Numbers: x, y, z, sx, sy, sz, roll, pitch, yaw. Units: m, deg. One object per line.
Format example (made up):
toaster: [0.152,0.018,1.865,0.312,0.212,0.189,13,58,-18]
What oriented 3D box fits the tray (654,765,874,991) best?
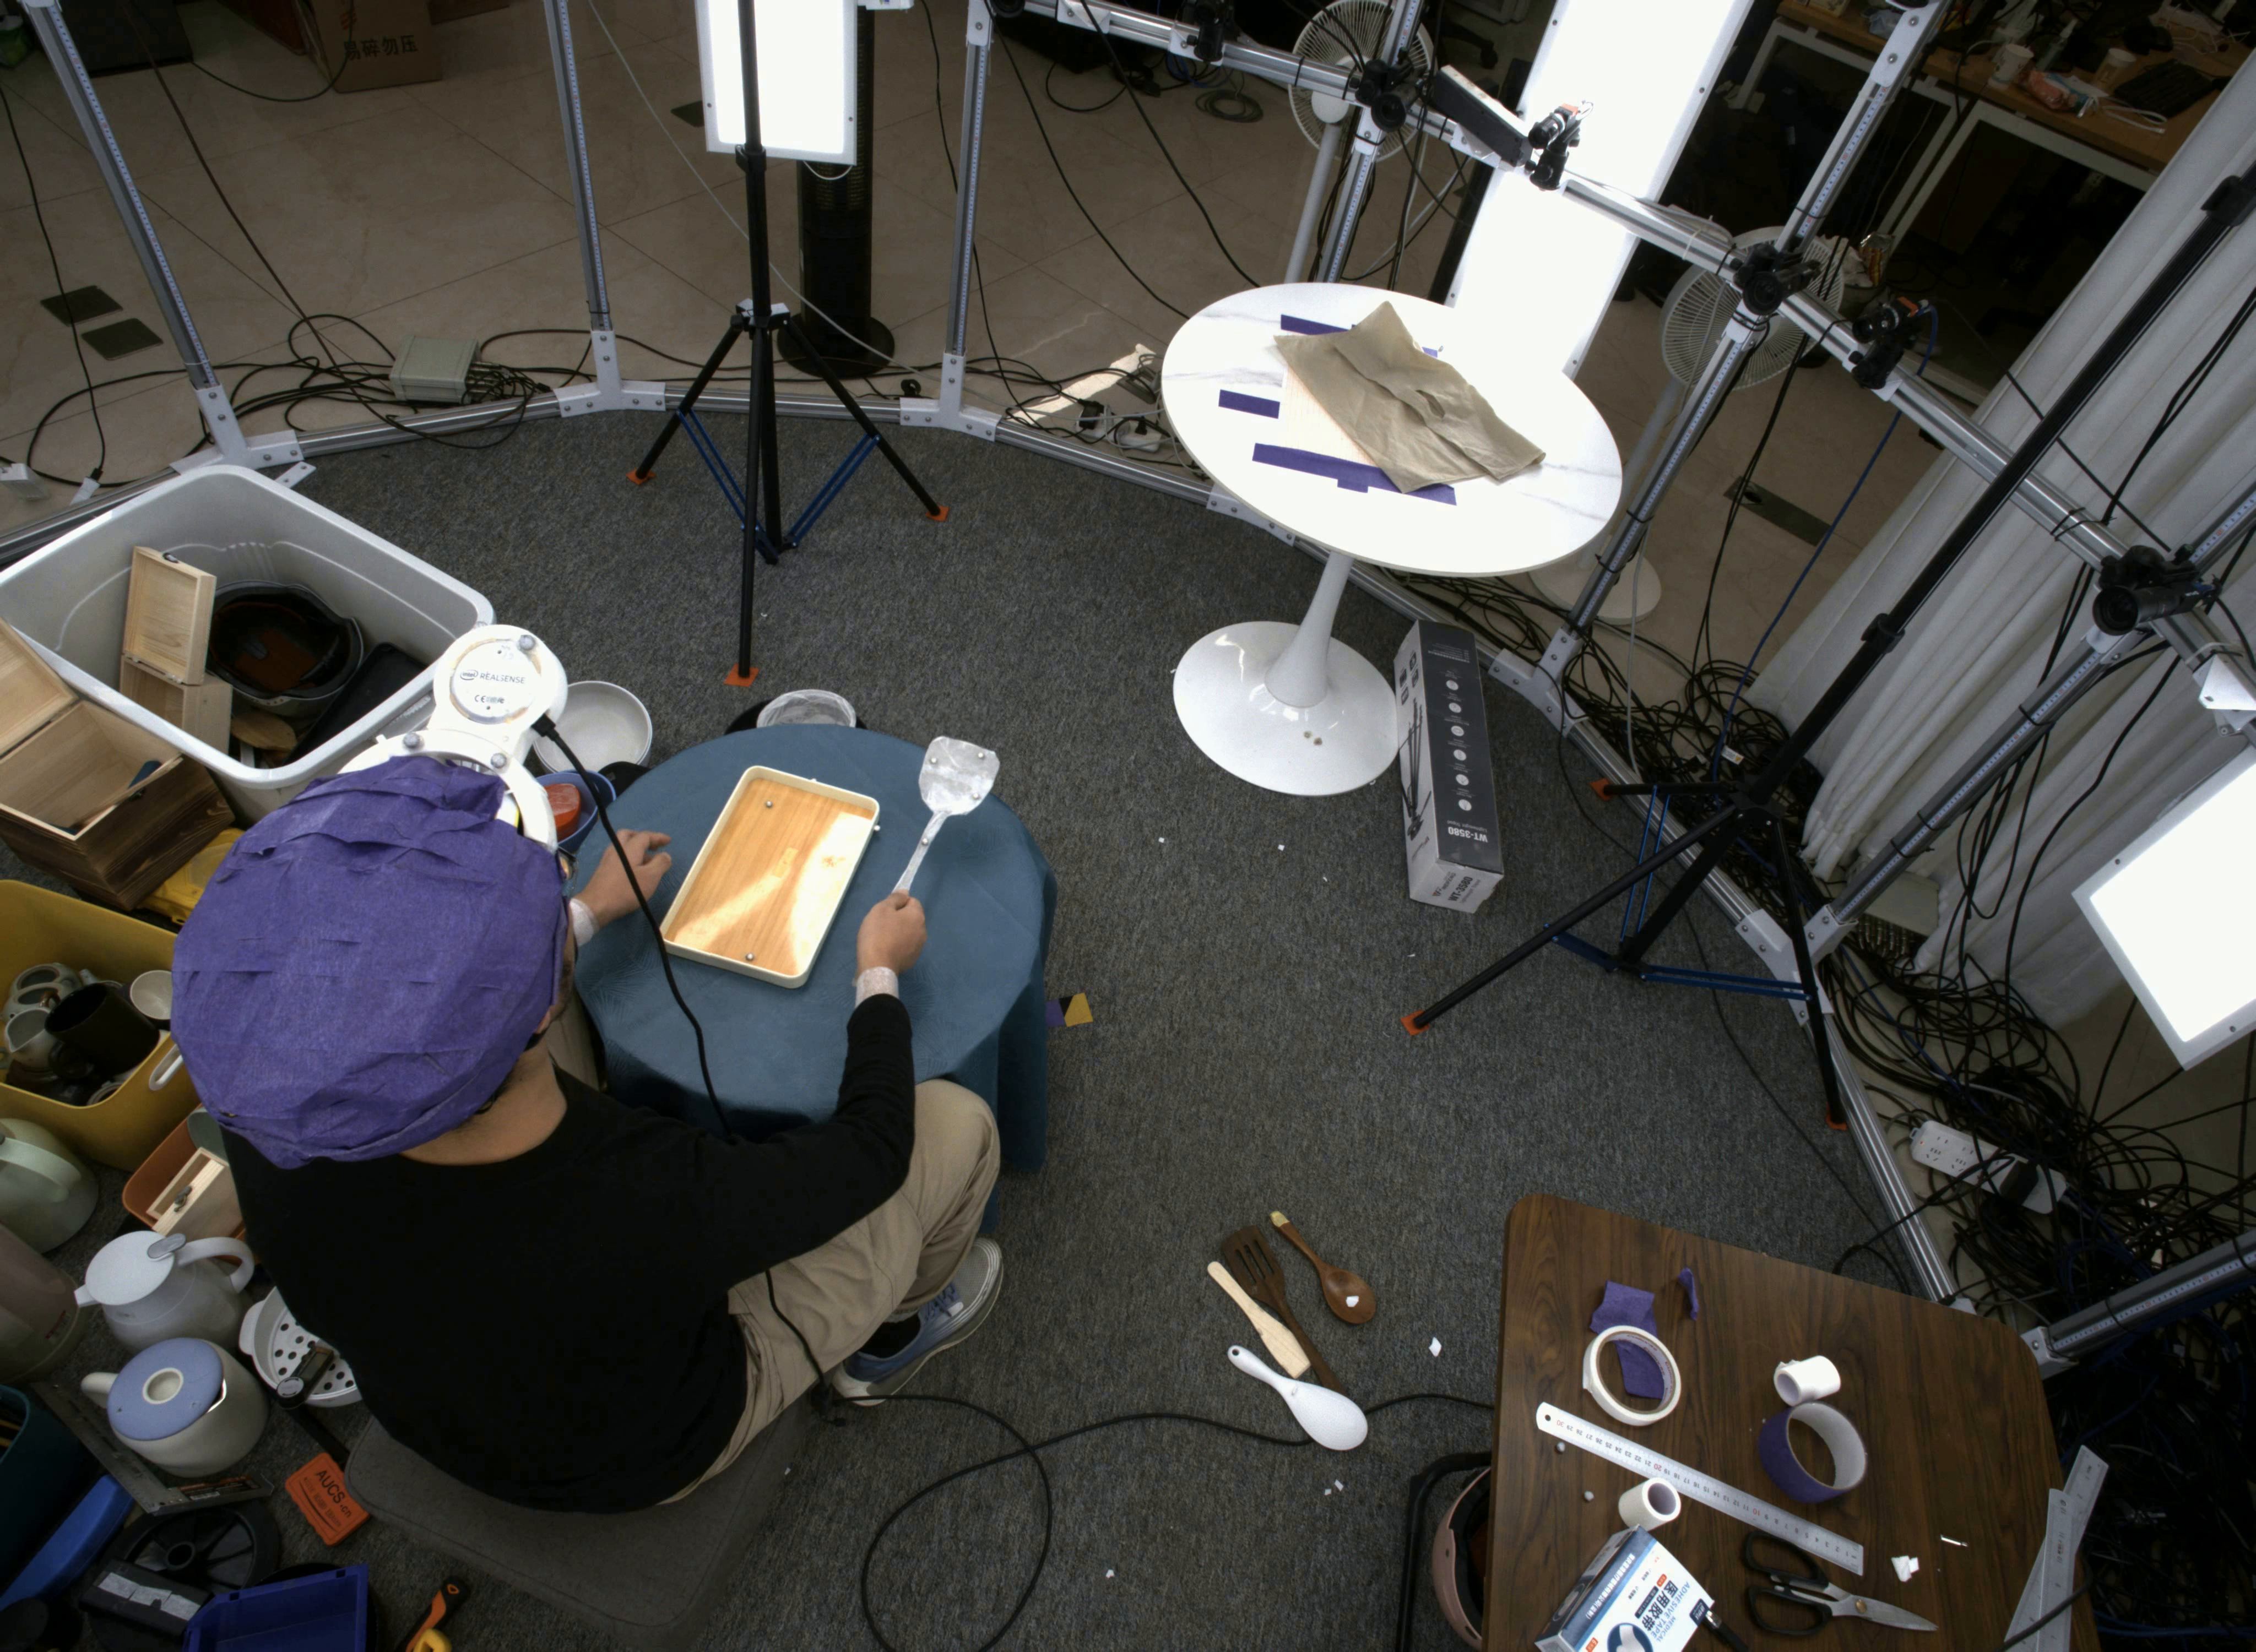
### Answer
tray: [-0.457,0.058,1.649,0.190,0.028,0.296,17,52,-2]

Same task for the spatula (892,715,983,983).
spatula: [-0.252,0.021,1.626,0.097,0.046,0.360,2,58,9]
